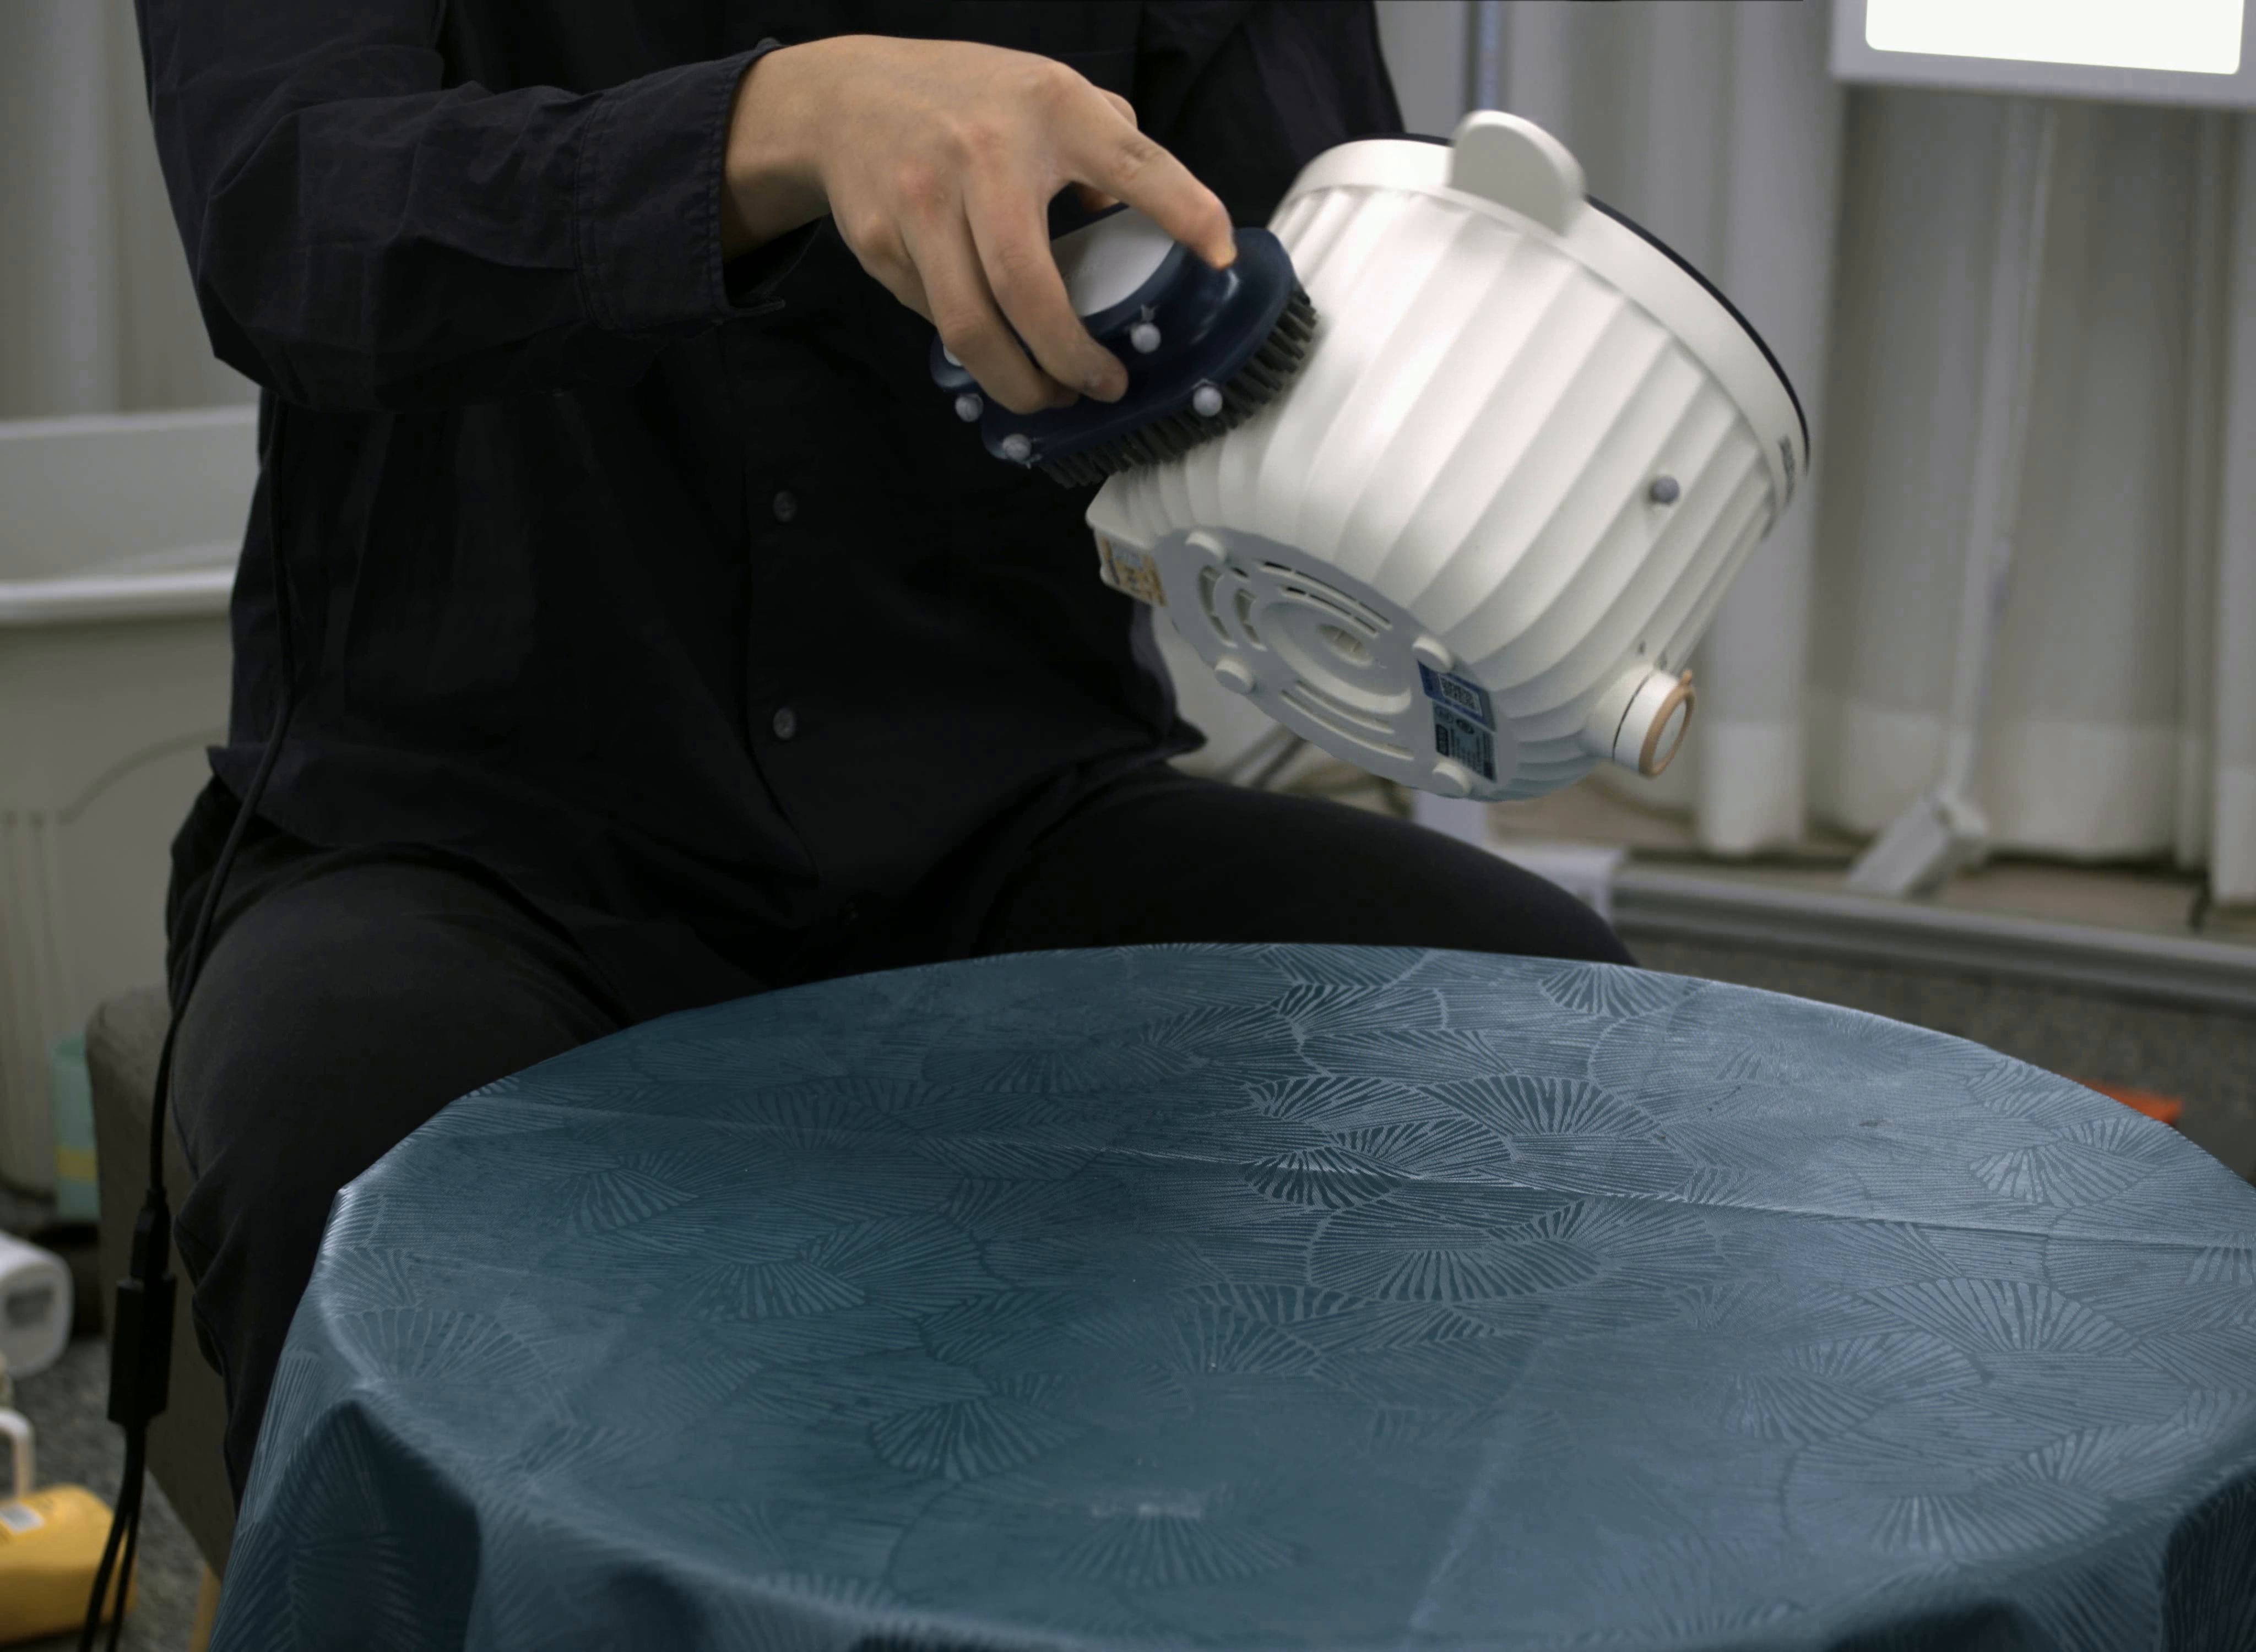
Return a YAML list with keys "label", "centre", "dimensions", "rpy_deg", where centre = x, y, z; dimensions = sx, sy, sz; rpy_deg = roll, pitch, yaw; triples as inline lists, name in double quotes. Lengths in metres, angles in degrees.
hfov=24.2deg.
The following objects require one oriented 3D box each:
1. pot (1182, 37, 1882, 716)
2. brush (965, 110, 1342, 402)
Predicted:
- label: "pot"
  centre: [0.128, -0.125, 1.641]
  dimensions: [0.189, 0.142, 0.243]
  rpy_deg: [25, -21, 17]
- label: "brush"
  centre: [0.009, -0.168, 1.581]
  dimensions: [0.120, 0.067, 0.062]
  rpy_deg: [-12, -39, 43]
